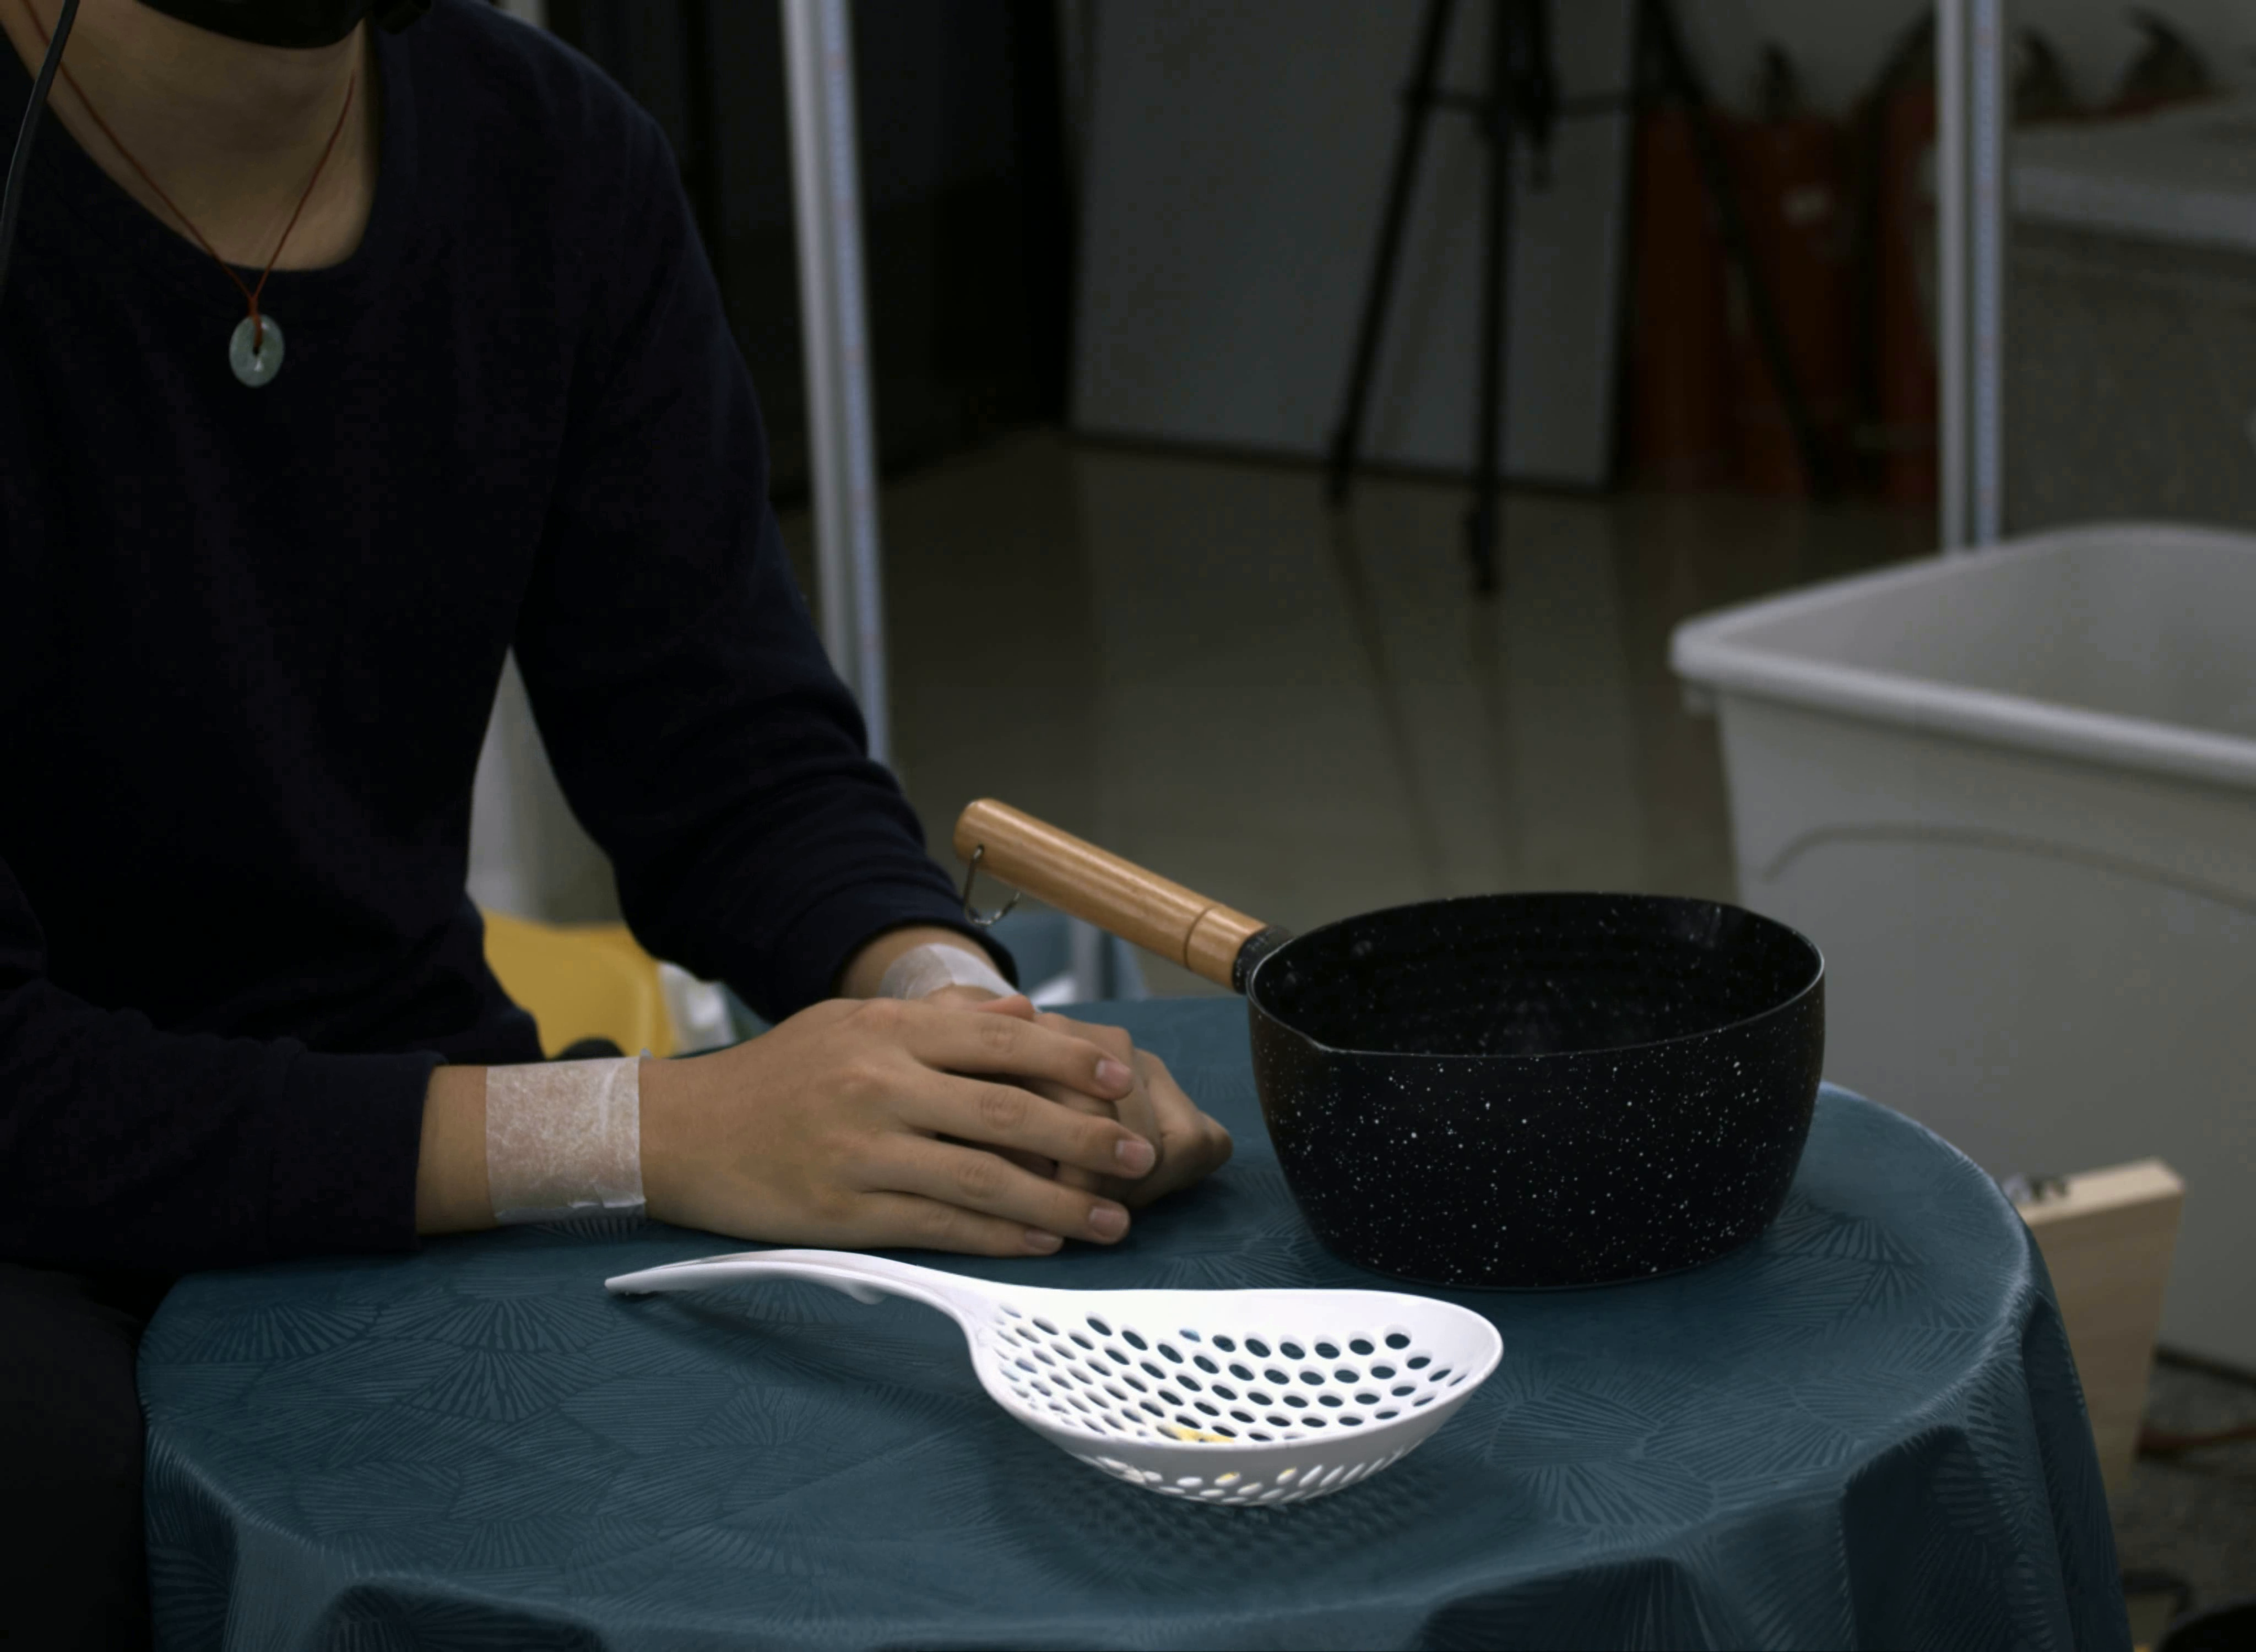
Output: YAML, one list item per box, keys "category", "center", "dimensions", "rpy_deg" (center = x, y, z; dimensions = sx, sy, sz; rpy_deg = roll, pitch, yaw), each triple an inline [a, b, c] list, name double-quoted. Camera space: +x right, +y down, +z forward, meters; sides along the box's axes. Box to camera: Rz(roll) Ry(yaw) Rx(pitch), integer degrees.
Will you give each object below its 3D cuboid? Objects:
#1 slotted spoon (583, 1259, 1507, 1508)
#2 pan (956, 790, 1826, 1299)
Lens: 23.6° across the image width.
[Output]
- category: "slotted spoon"
  center: [-0.040, 0.150, 1.576]
  dimensions: [0.134, 0.051, 0.351]
  rpy_deg: [-18, 21, -42]
- category: "pan"
  center: [0.071, 0.064, 1.756]
  dimensions: [0.346, 0.109, 0.203]
  rpy_deg: [10, 21, 41]
